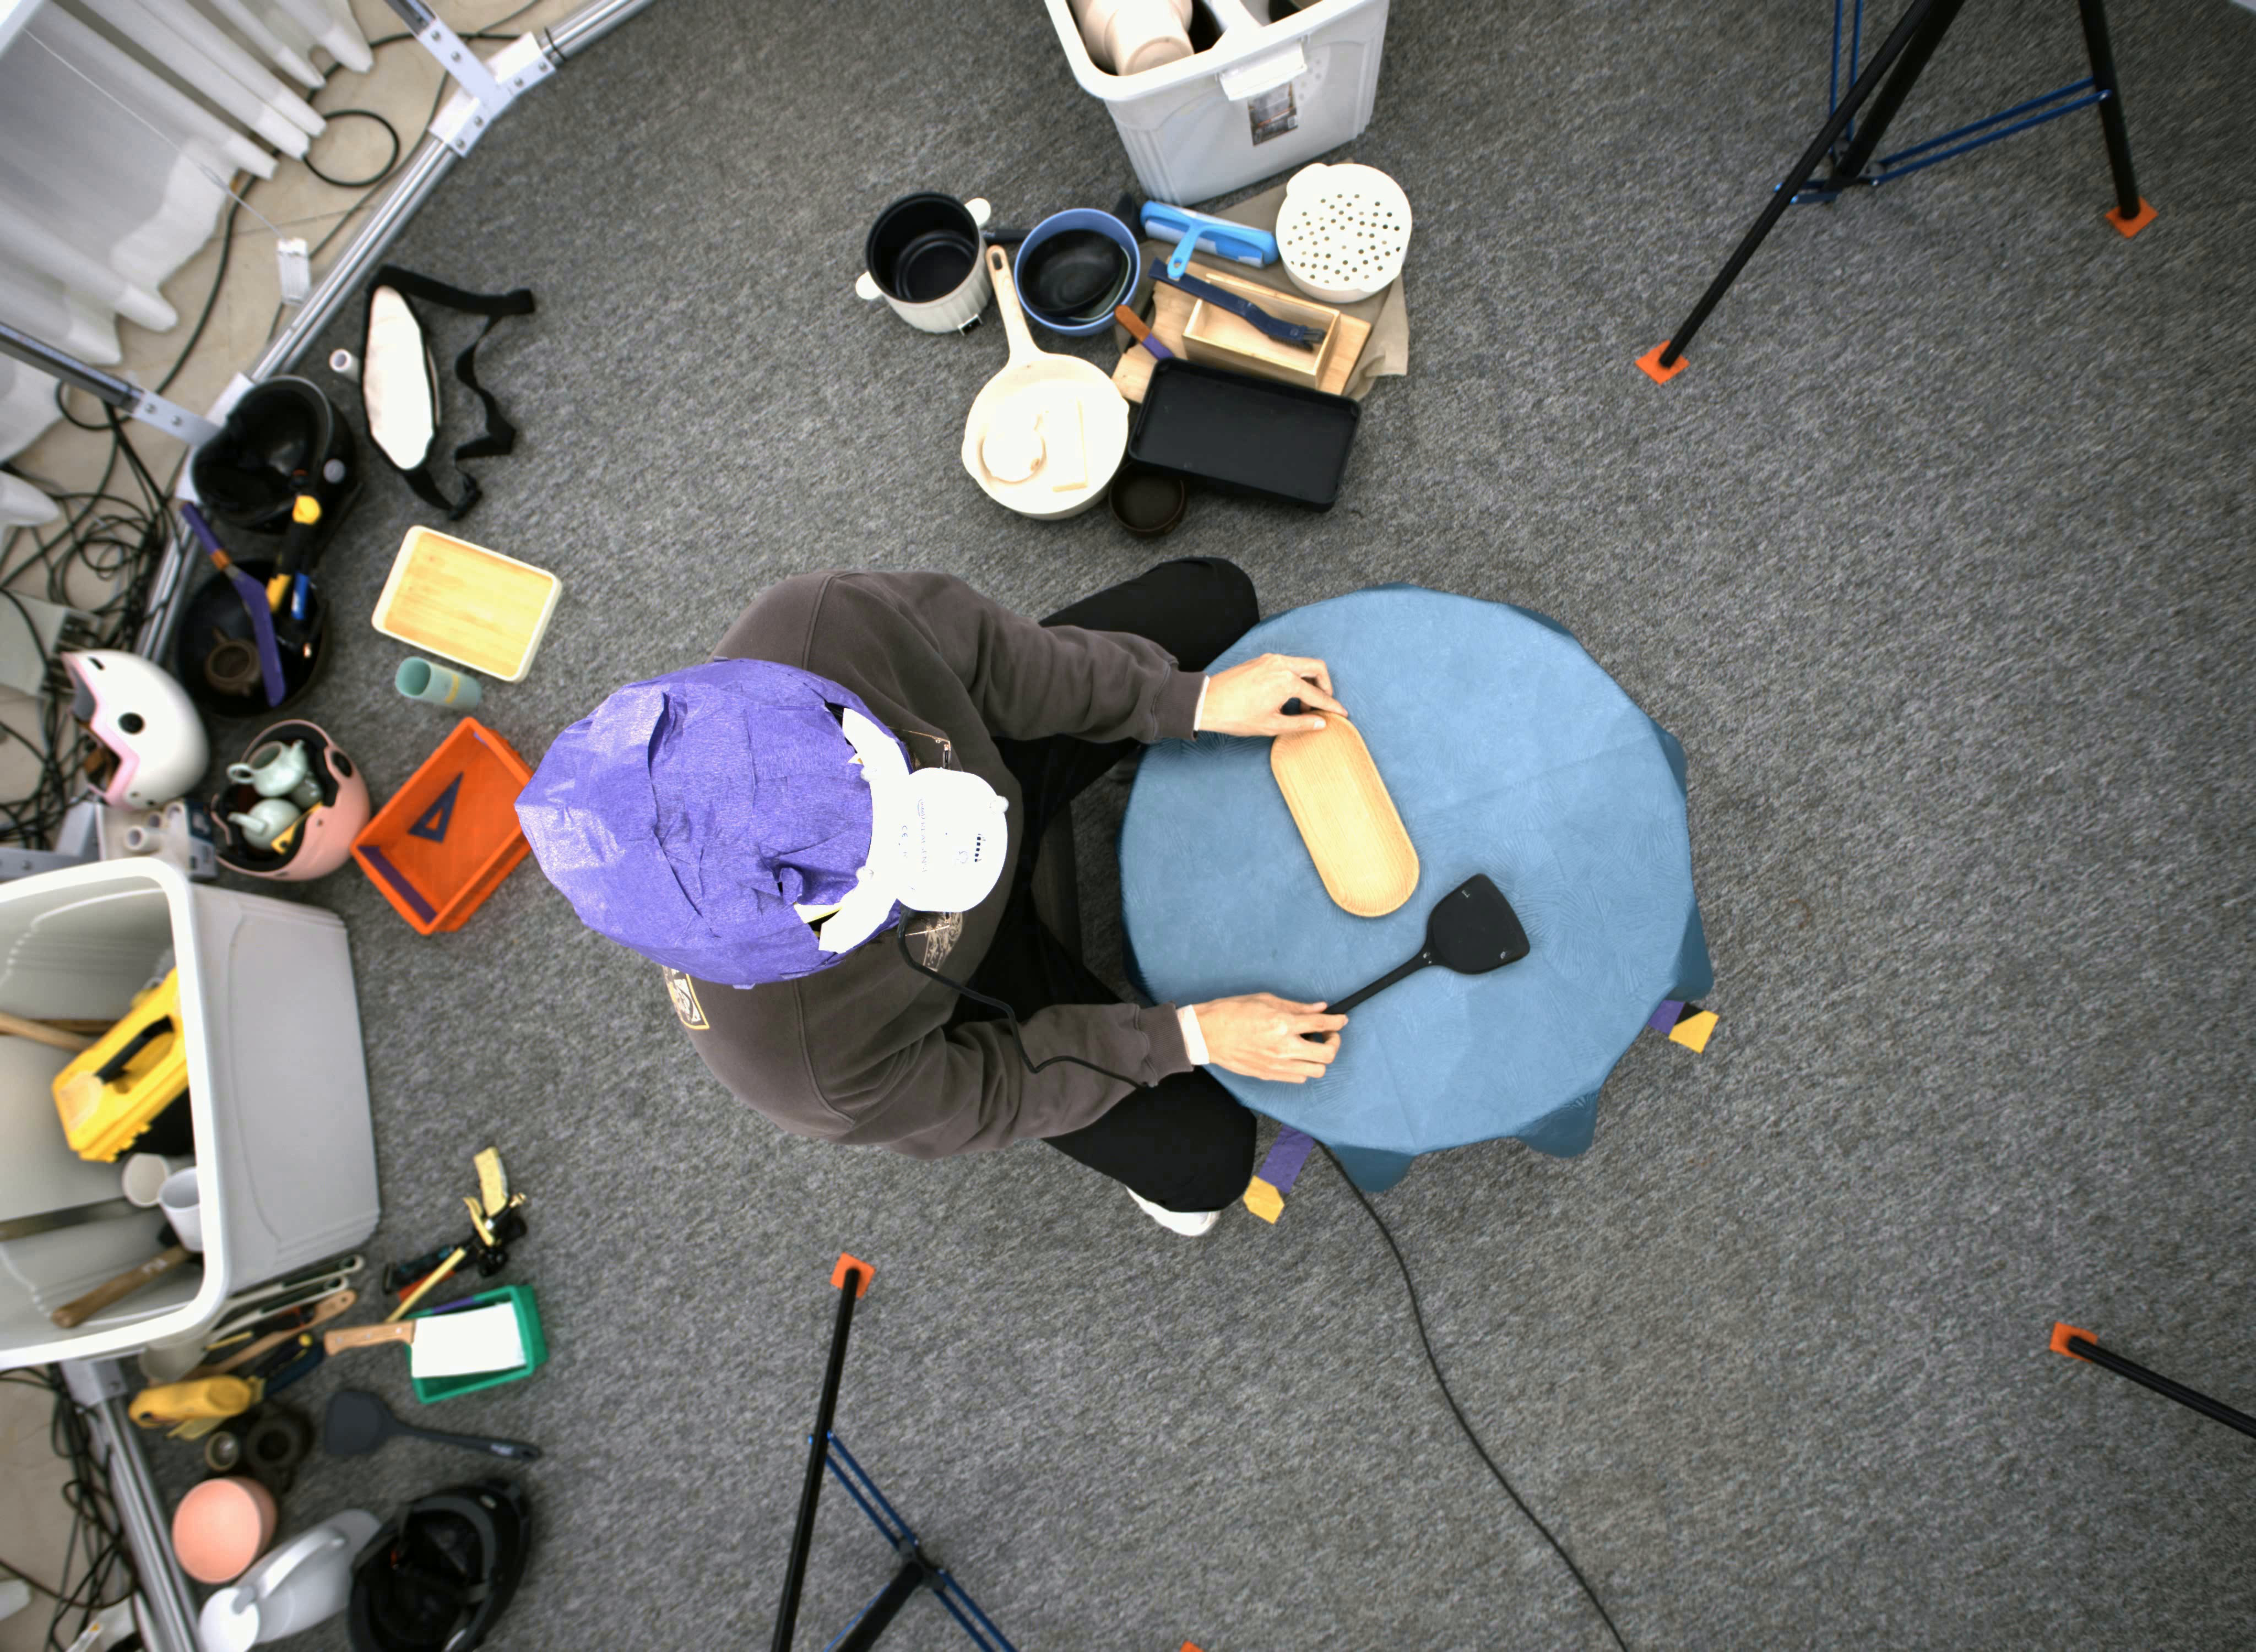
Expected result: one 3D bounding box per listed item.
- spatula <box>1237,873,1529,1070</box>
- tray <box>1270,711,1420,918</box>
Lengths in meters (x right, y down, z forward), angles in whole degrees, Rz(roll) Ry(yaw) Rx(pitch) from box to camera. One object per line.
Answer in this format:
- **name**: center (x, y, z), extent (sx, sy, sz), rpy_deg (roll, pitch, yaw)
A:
- **spatula**: center (0.254, 0.167, 1.433), extent (0.327, 0.040, 0.099), rpy_deg (-31, 84, 4)
- **tray**: center (0.229, -0.014, 1.460), extent (0.102, 0.020, 0.230), rpy_deg (-25, 85, 12)
